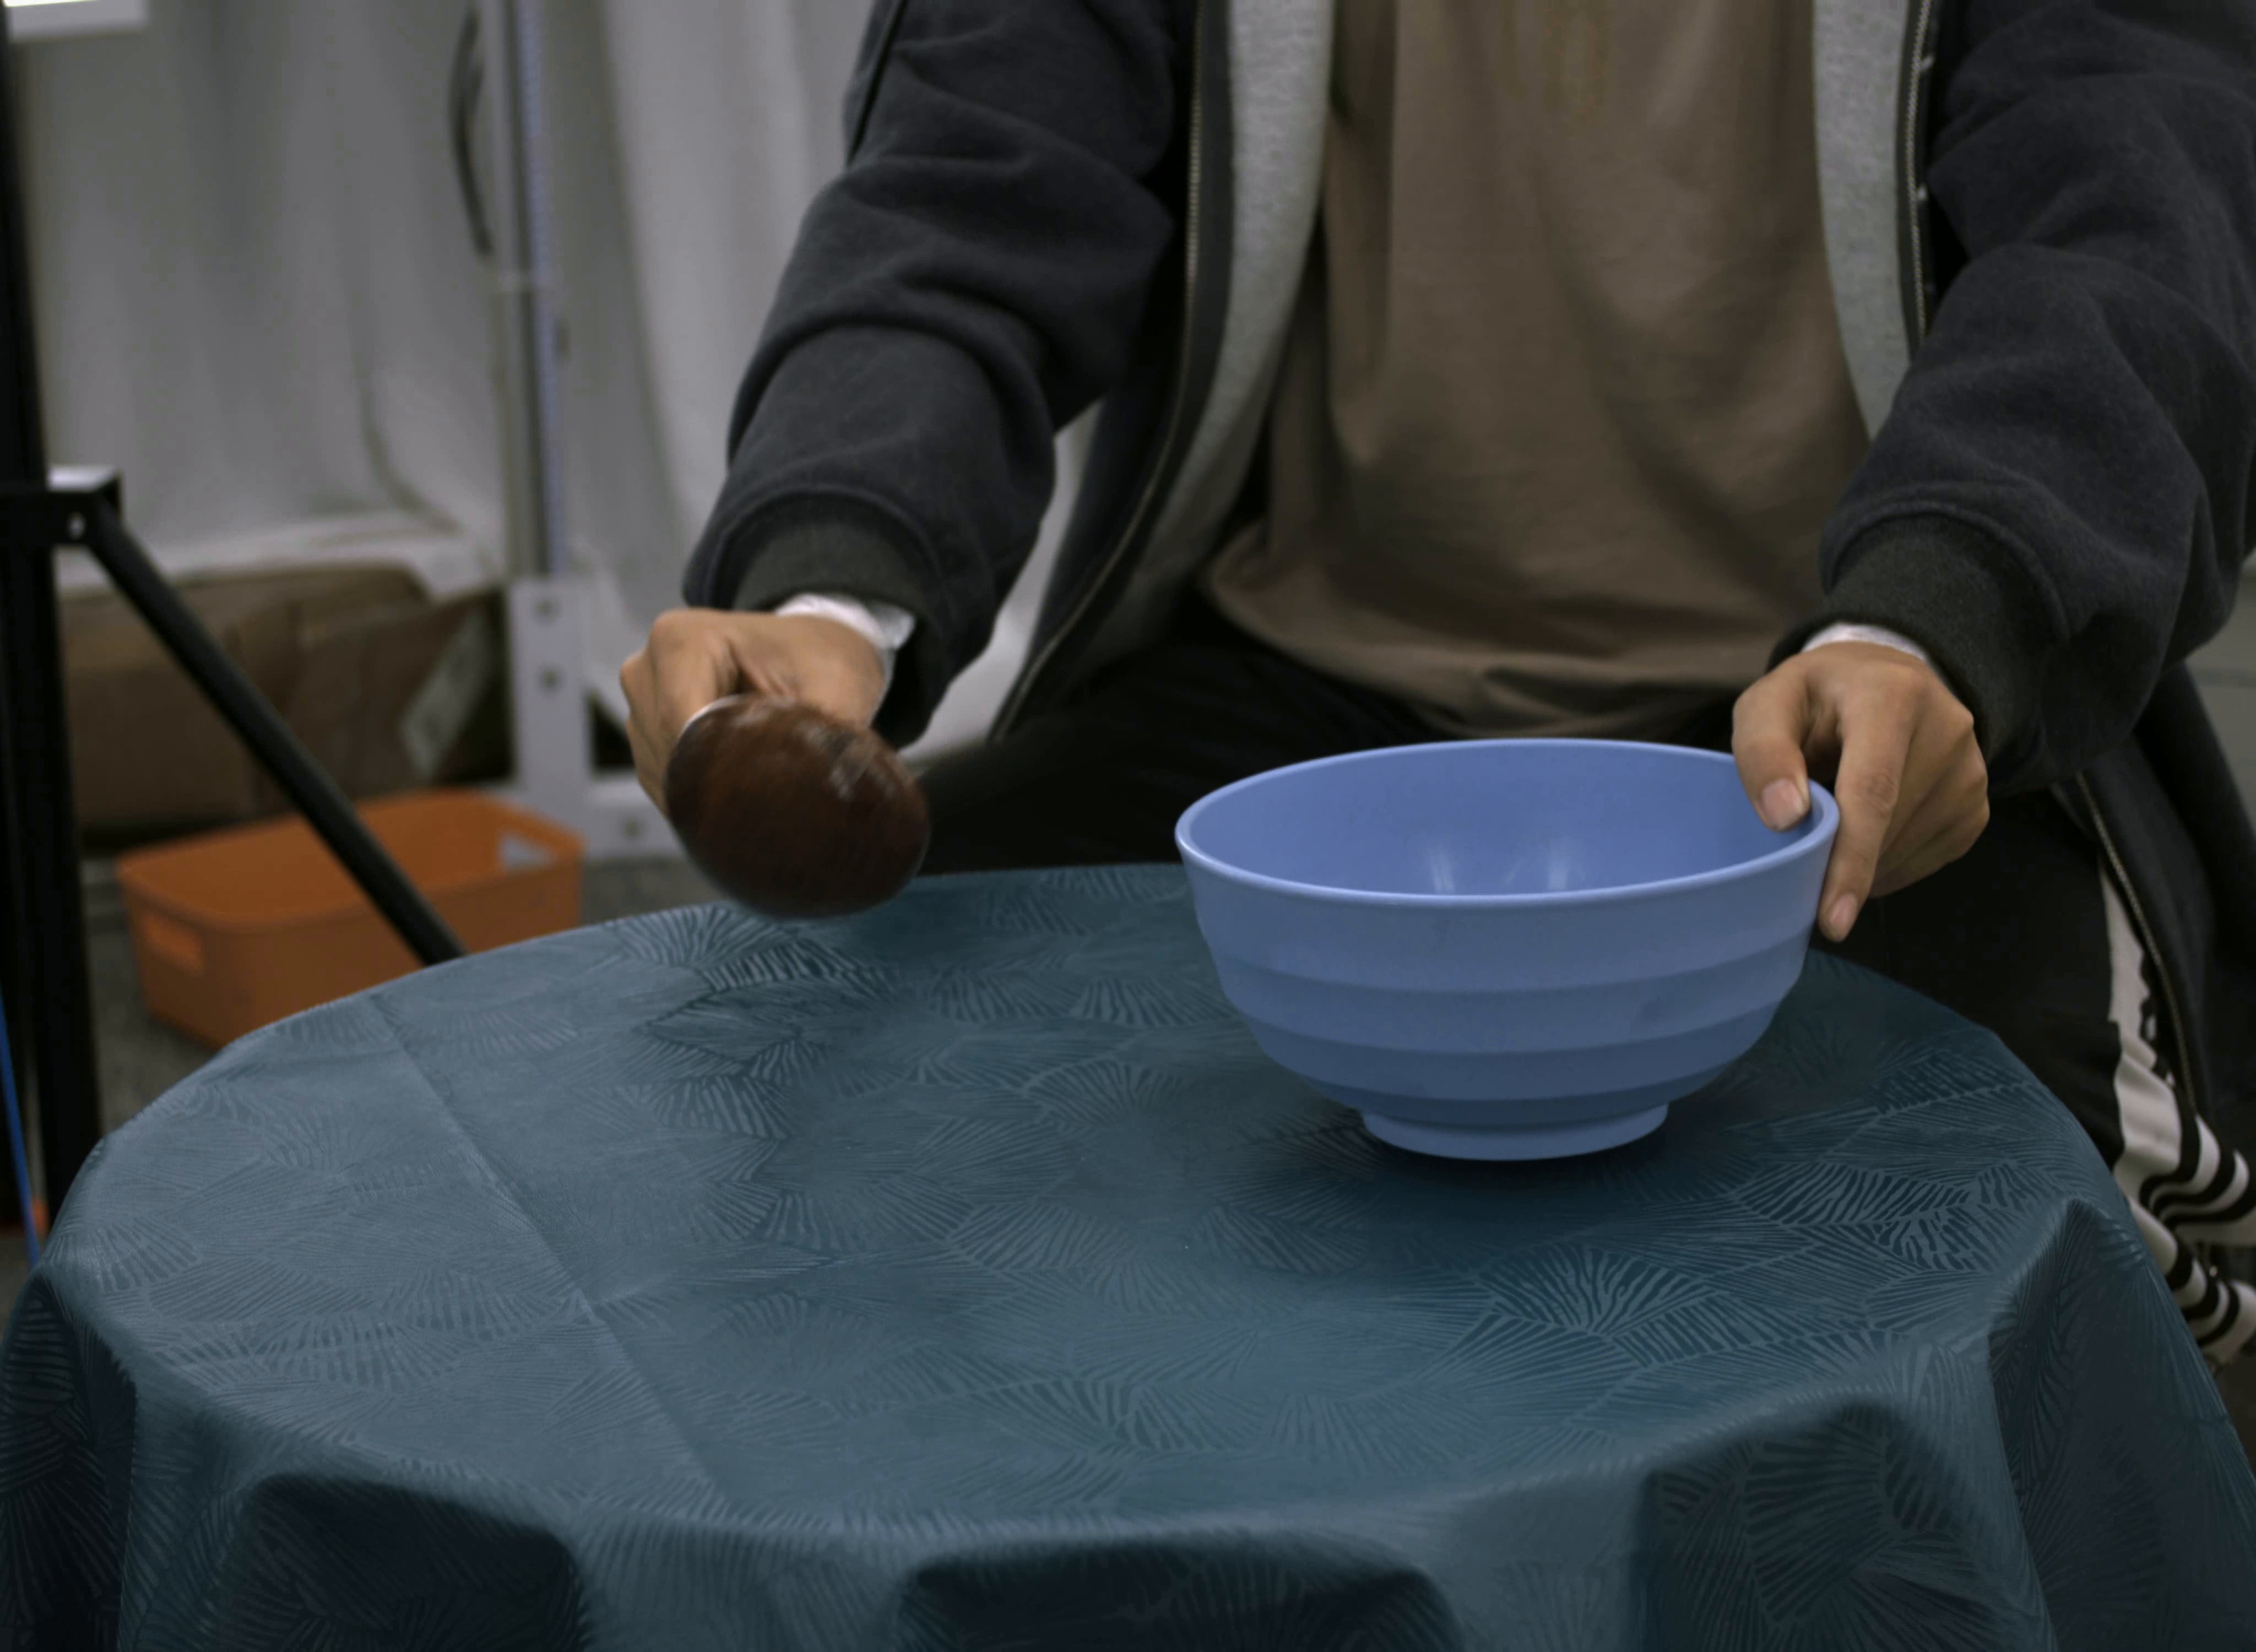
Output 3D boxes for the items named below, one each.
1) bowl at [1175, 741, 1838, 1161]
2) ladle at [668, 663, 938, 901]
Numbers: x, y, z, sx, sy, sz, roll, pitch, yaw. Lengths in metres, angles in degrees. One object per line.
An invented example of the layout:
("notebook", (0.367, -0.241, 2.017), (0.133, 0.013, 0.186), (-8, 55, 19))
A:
("bowl", (0.114, 0.042, 1.580), (0.195, 0.095, 0.197), (-4, 13, -1))
("ladle", (-0.098, -0.029, 1.653), (0.081, 0.077, 0.274), (34, 9, -6))
